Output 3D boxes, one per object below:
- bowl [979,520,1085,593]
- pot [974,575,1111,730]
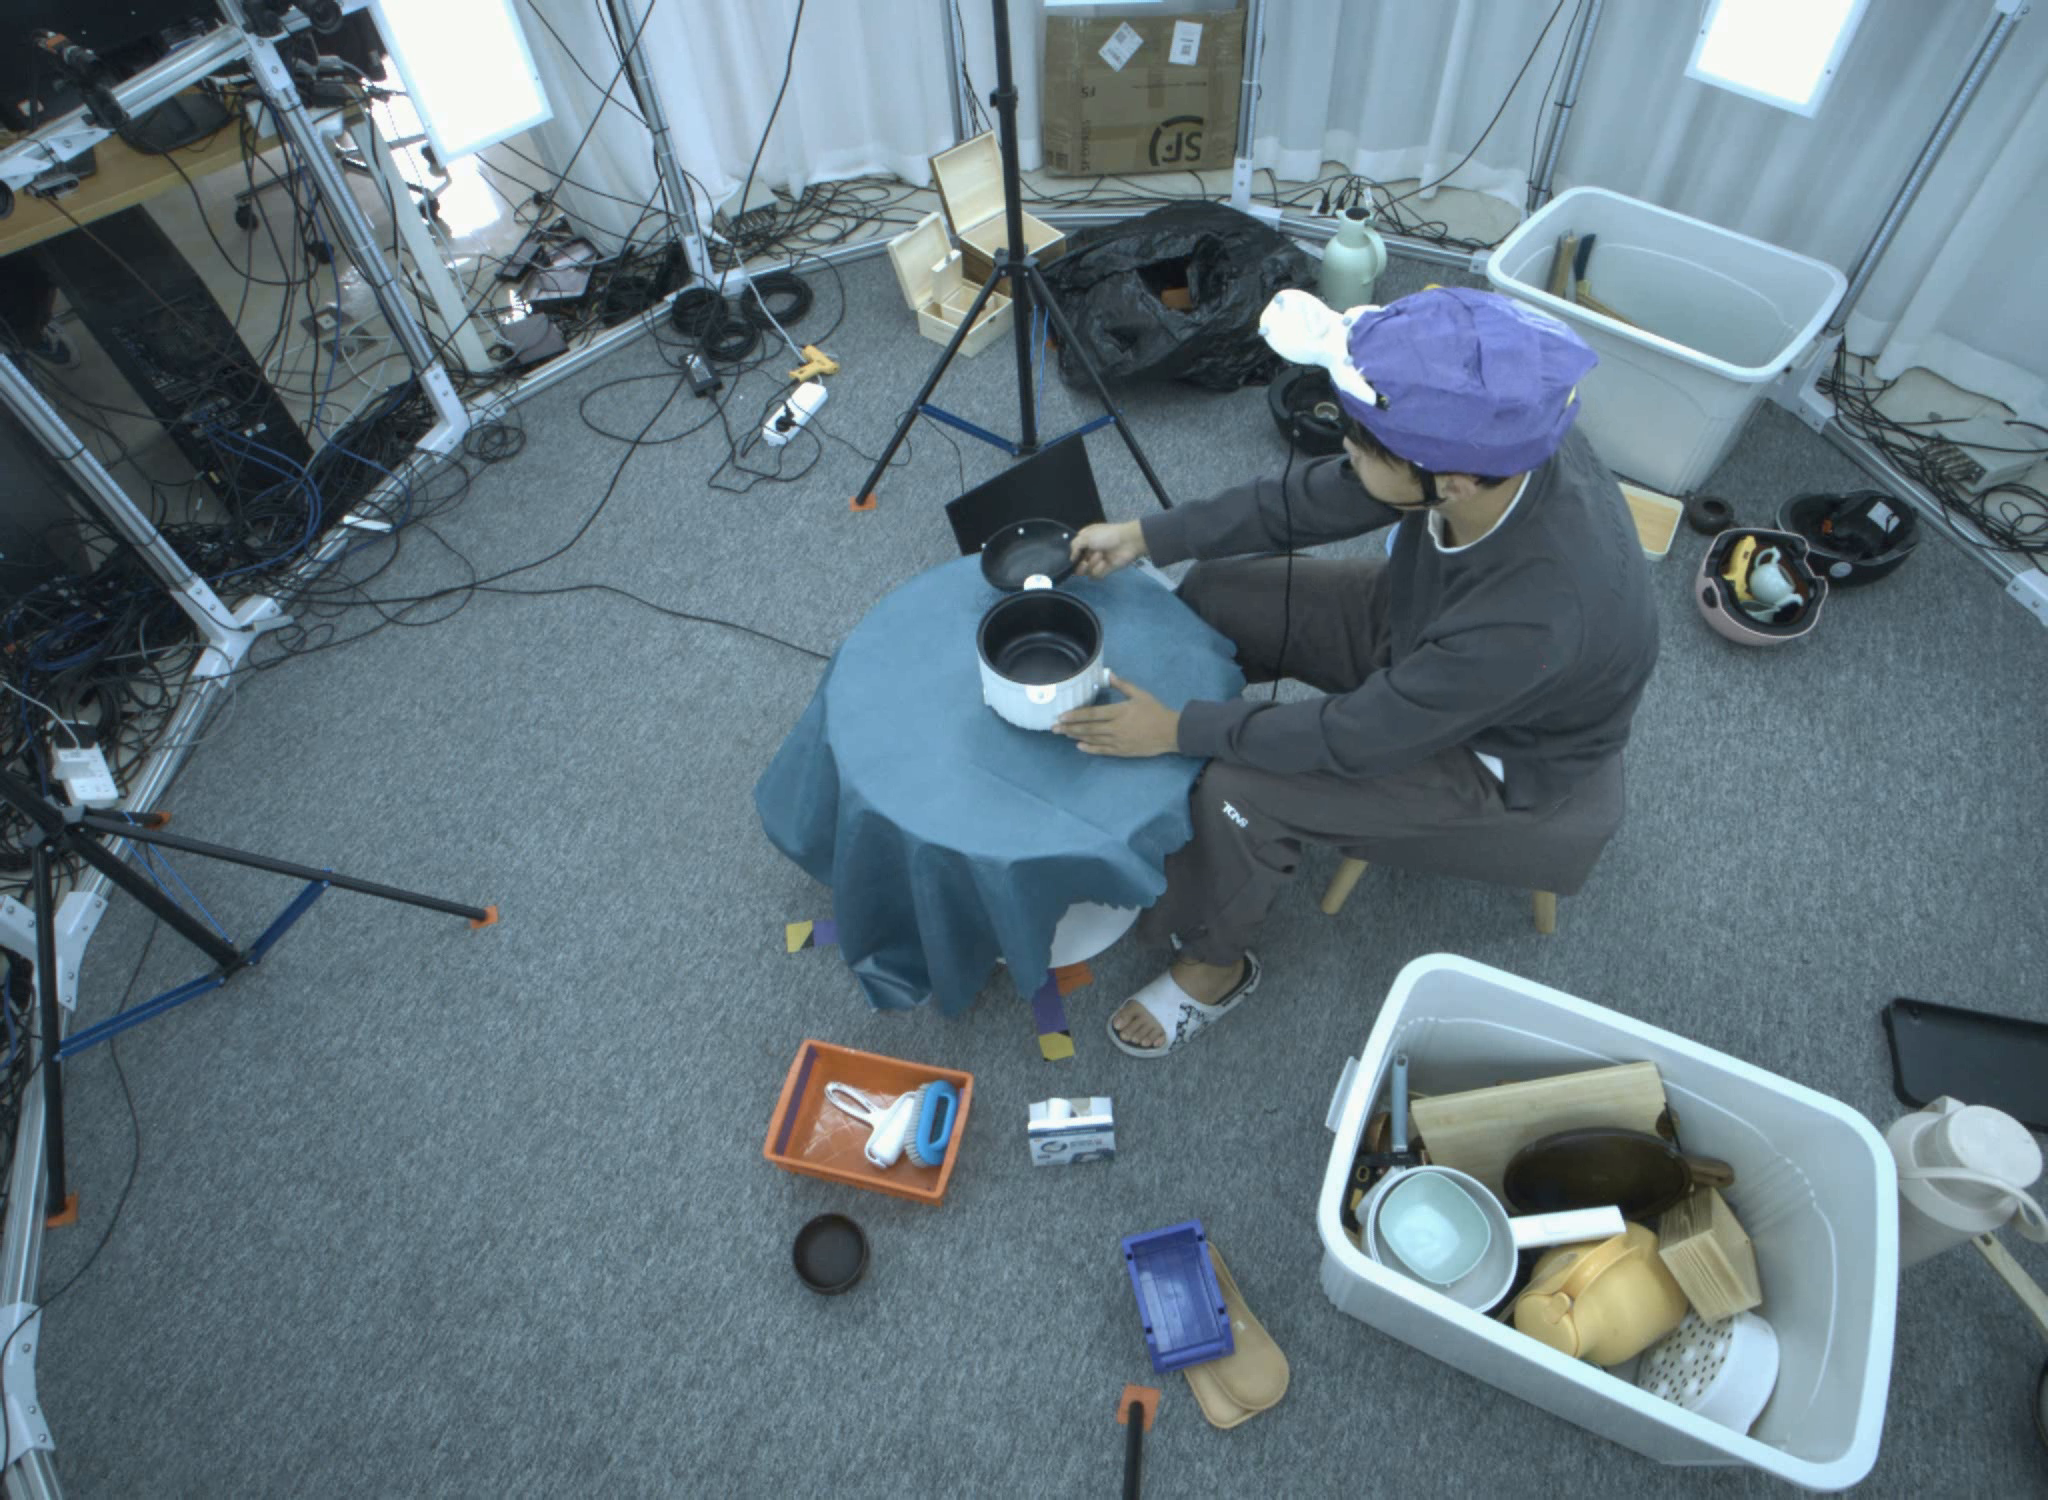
[{"bbox_3d":[0.013,-0.295,1.933,0.171,0.067,0.135,-23,57,-12],"label":"bowl"},{"bbox_3d":[0.029,-0.127,1.792,0.190,0.144,0.237,-5,56,2],"label":"pot"}]
